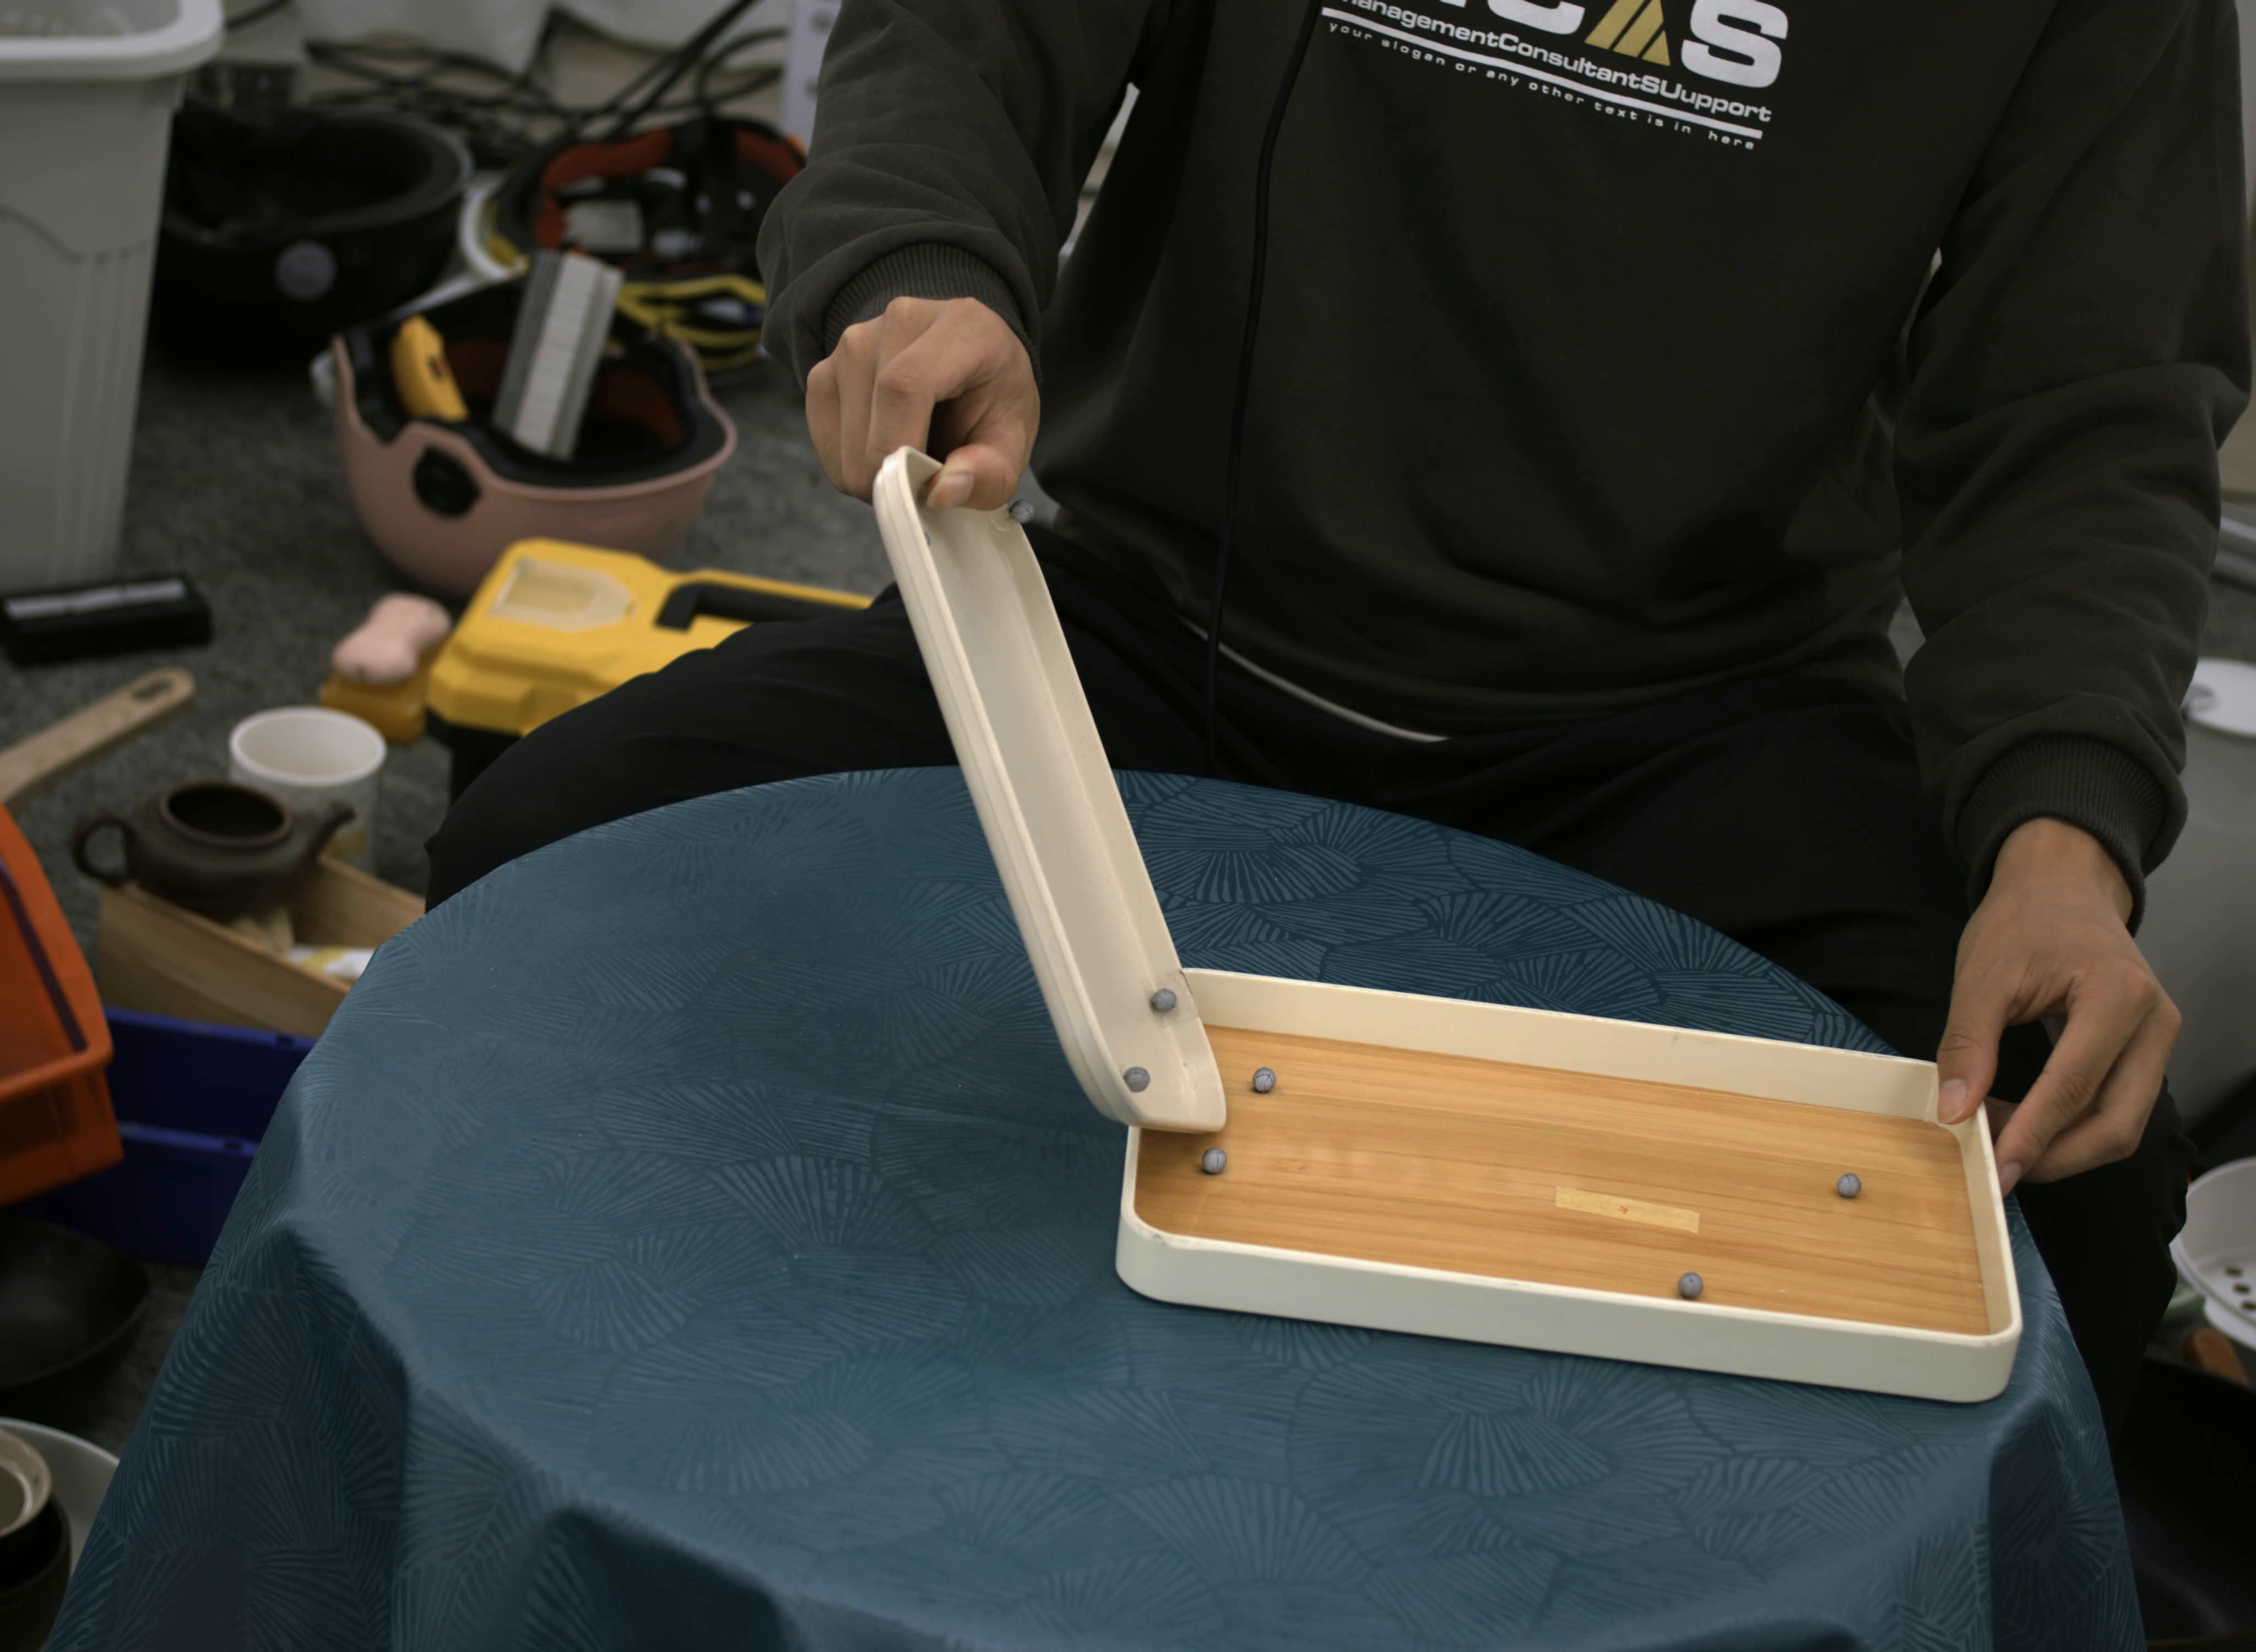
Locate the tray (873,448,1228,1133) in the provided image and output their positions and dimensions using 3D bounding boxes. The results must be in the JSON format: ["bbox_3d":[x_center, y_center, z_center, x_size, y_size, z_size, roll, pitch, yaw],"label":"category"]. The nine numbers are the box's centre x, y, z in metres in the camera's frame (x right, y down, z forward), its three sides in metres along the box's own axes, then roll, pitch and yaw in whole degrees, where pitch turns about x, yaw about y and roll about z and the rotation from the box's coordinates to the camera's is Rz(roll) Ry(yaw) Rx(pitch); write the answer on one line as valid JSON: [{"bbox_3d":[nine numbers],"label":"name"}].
[{"bbox_3d":[-0.027,-0.008,1.798,0.017,0.241,0.170,-22,-10,11],"label":"tray"}]

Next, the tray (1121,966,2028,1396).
[{"bbox_3d":[0.150,0.120,1.821,0.299,0.027,0.192,7,26,0],"label":"tray"}]
